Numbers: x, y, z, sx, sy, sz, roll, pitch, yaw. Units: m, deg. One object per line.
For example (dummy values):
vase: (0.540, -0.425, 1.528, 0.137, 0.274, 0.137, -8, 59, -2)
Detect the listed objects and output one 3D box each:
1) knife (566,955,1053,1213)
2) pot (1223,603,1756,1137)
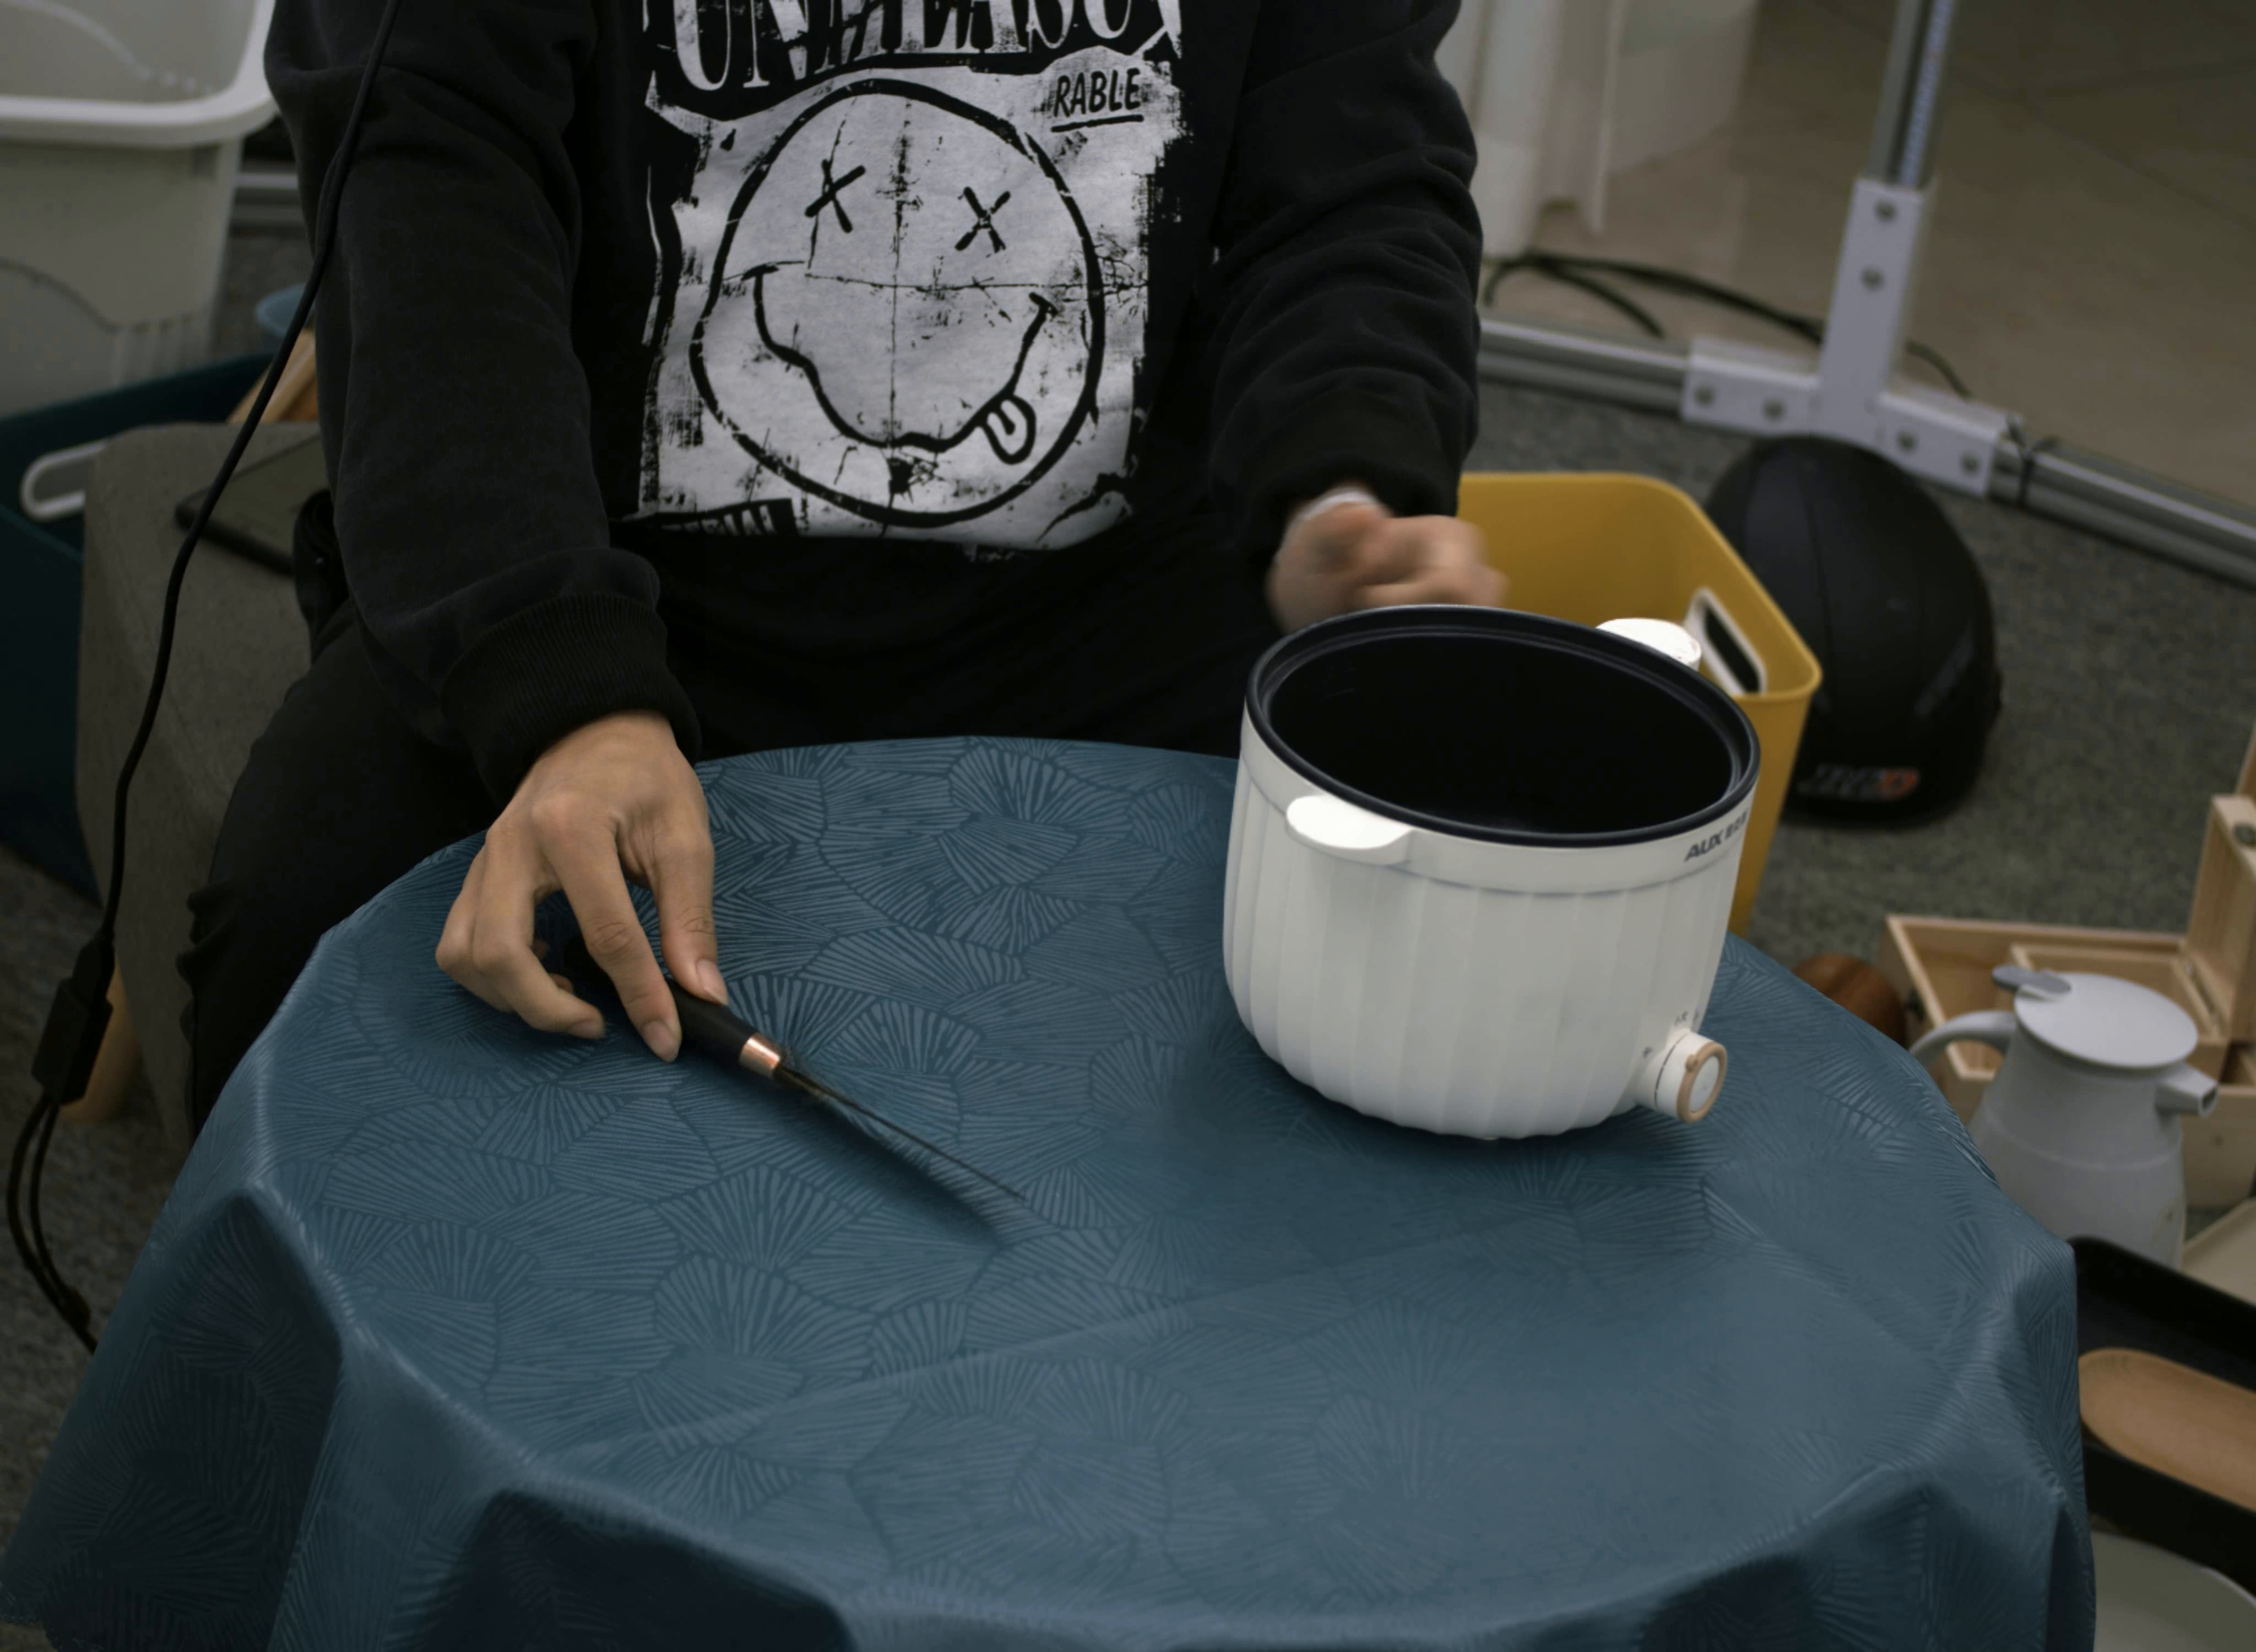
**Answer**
knife: (-0.112, 0.088, 1.832, 0.227, 0.026, 0.017, 24, 73, 36)
pot: (0.128, 0.021, 1.882, 0.191, 0.142, 0.240, 19, 30, 30)
